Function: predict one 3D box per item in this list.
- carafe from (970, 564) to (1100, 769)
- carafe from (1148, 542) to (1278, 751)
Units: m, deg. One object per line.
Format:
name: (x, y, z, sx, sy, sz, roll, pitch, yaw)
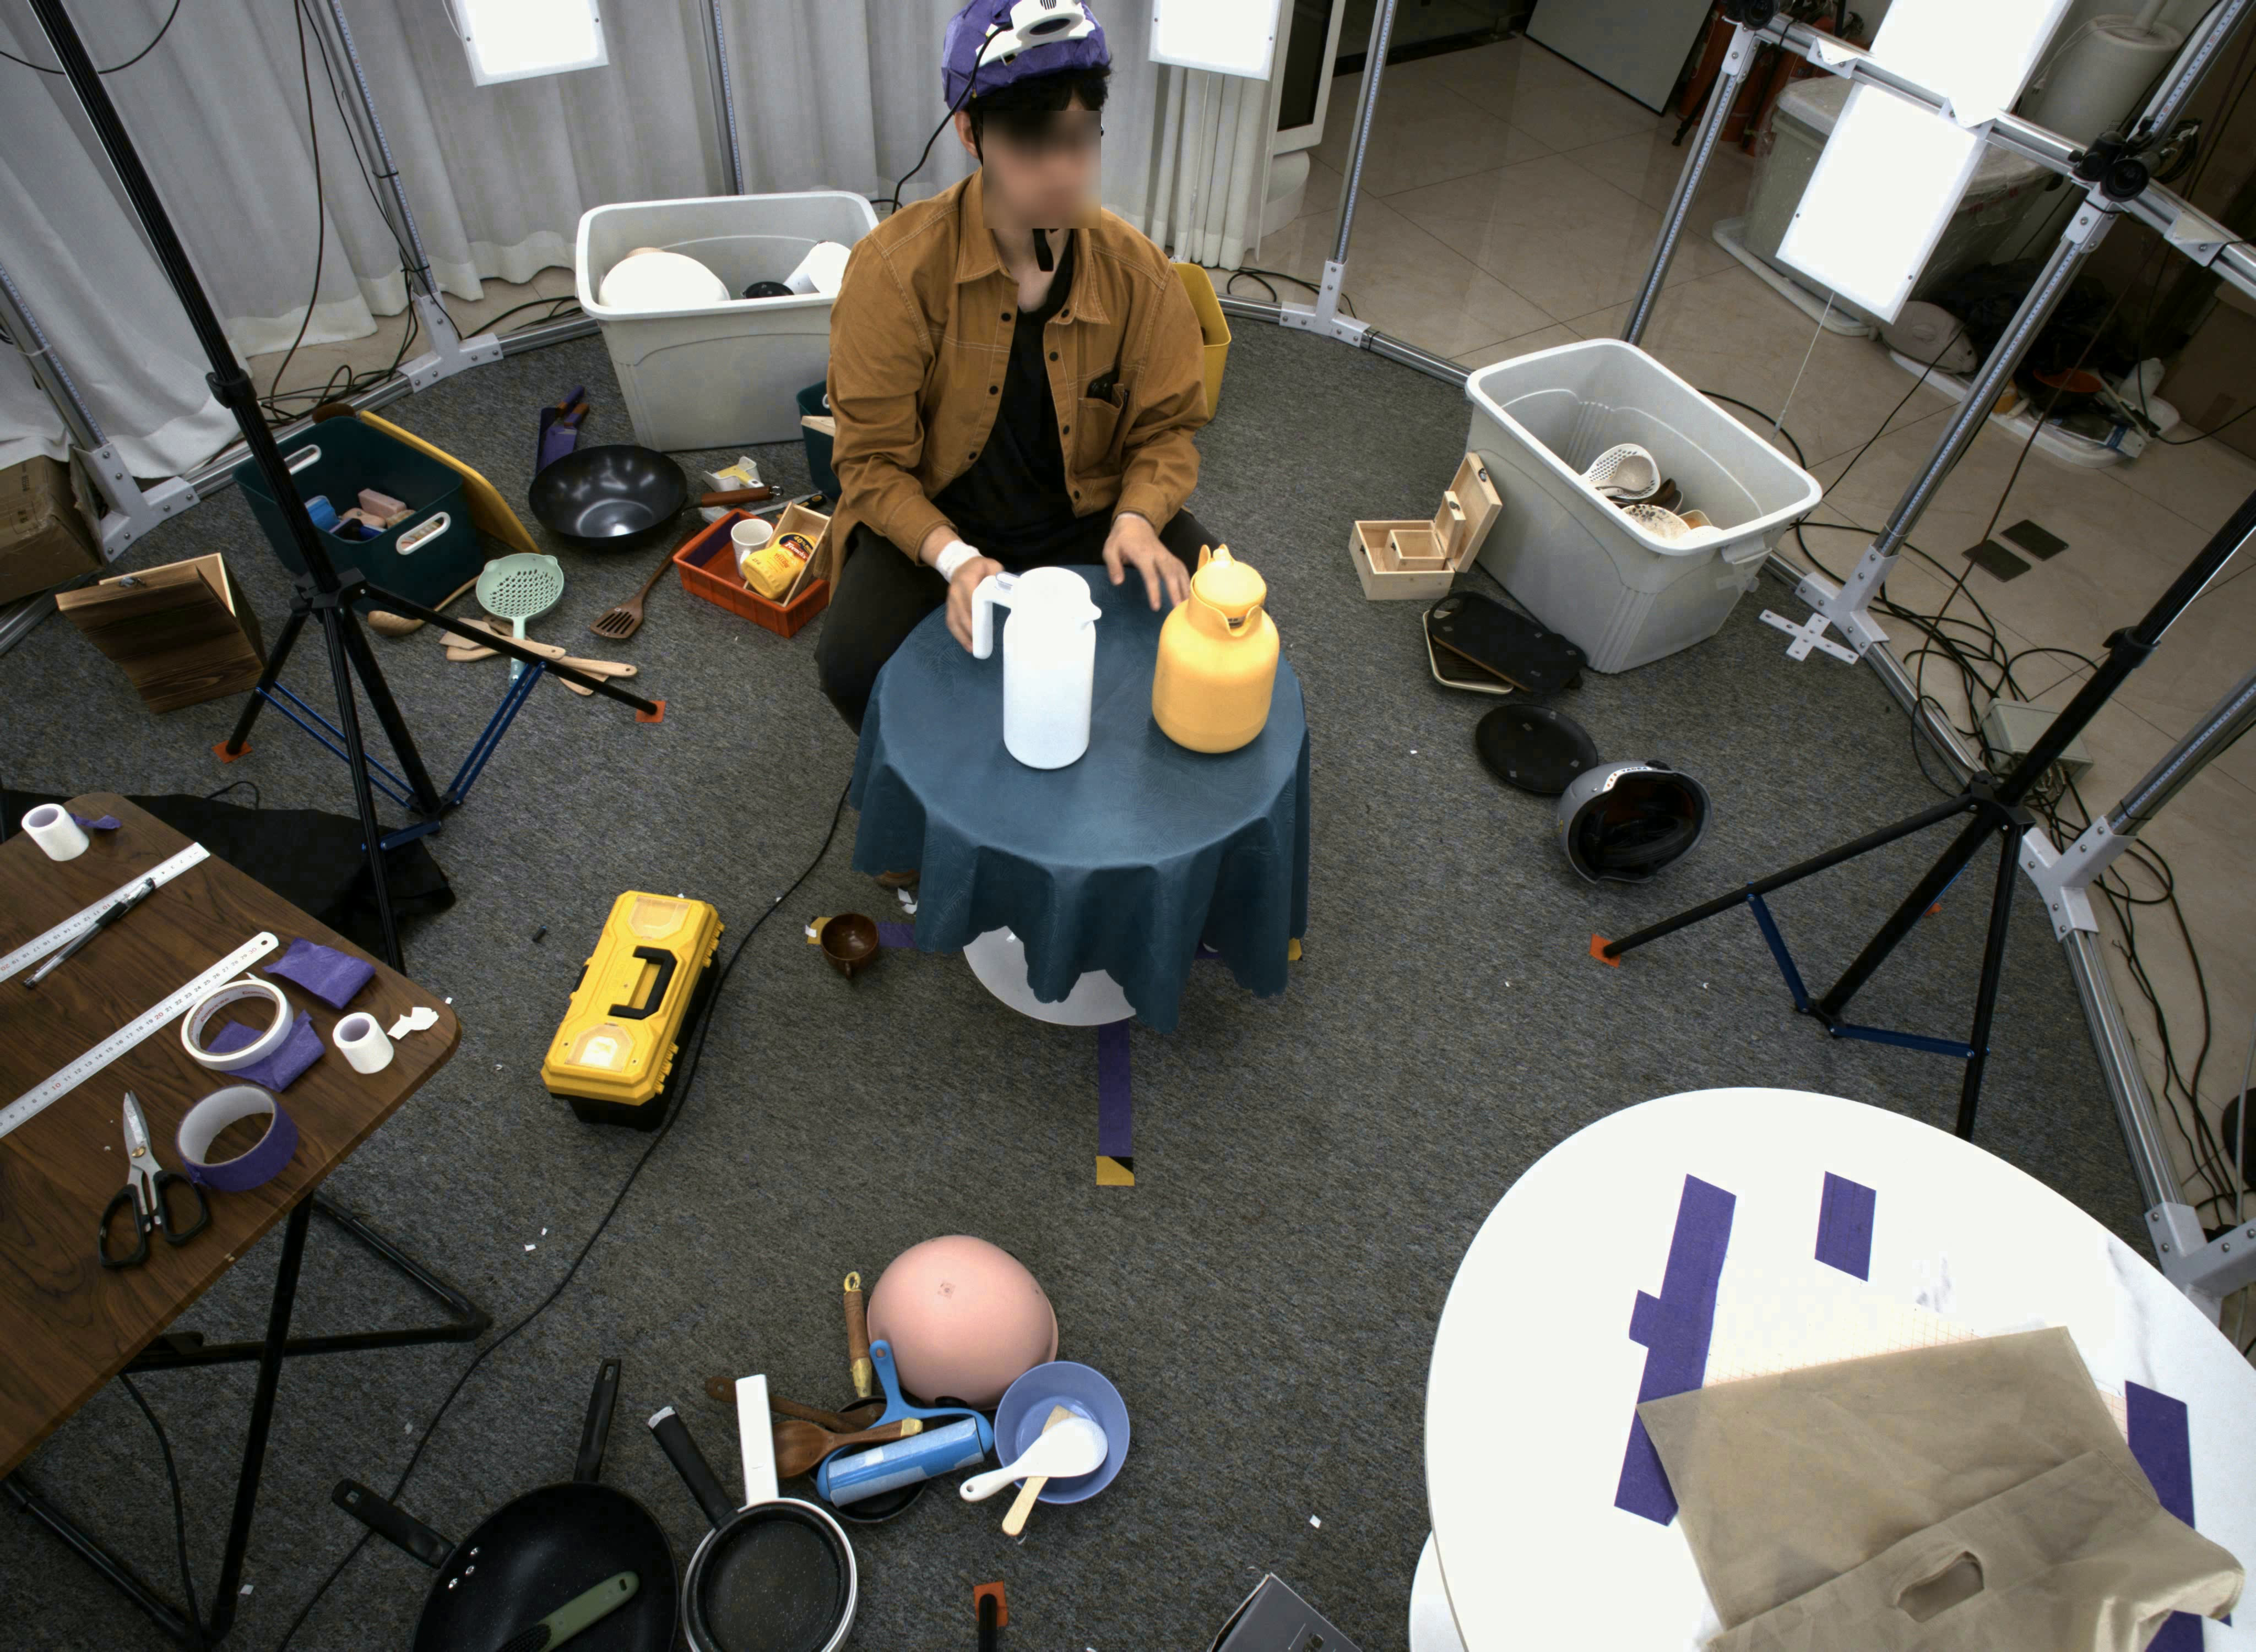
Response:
carafe: (-0.121, -0.206, 1.668, 0.174, 0.262, 0.126, 20, 53, 13)
carafe: (0.117, -0.247, 1.720, 0.163, 0.254, 0.207, 0, 51, -8)
